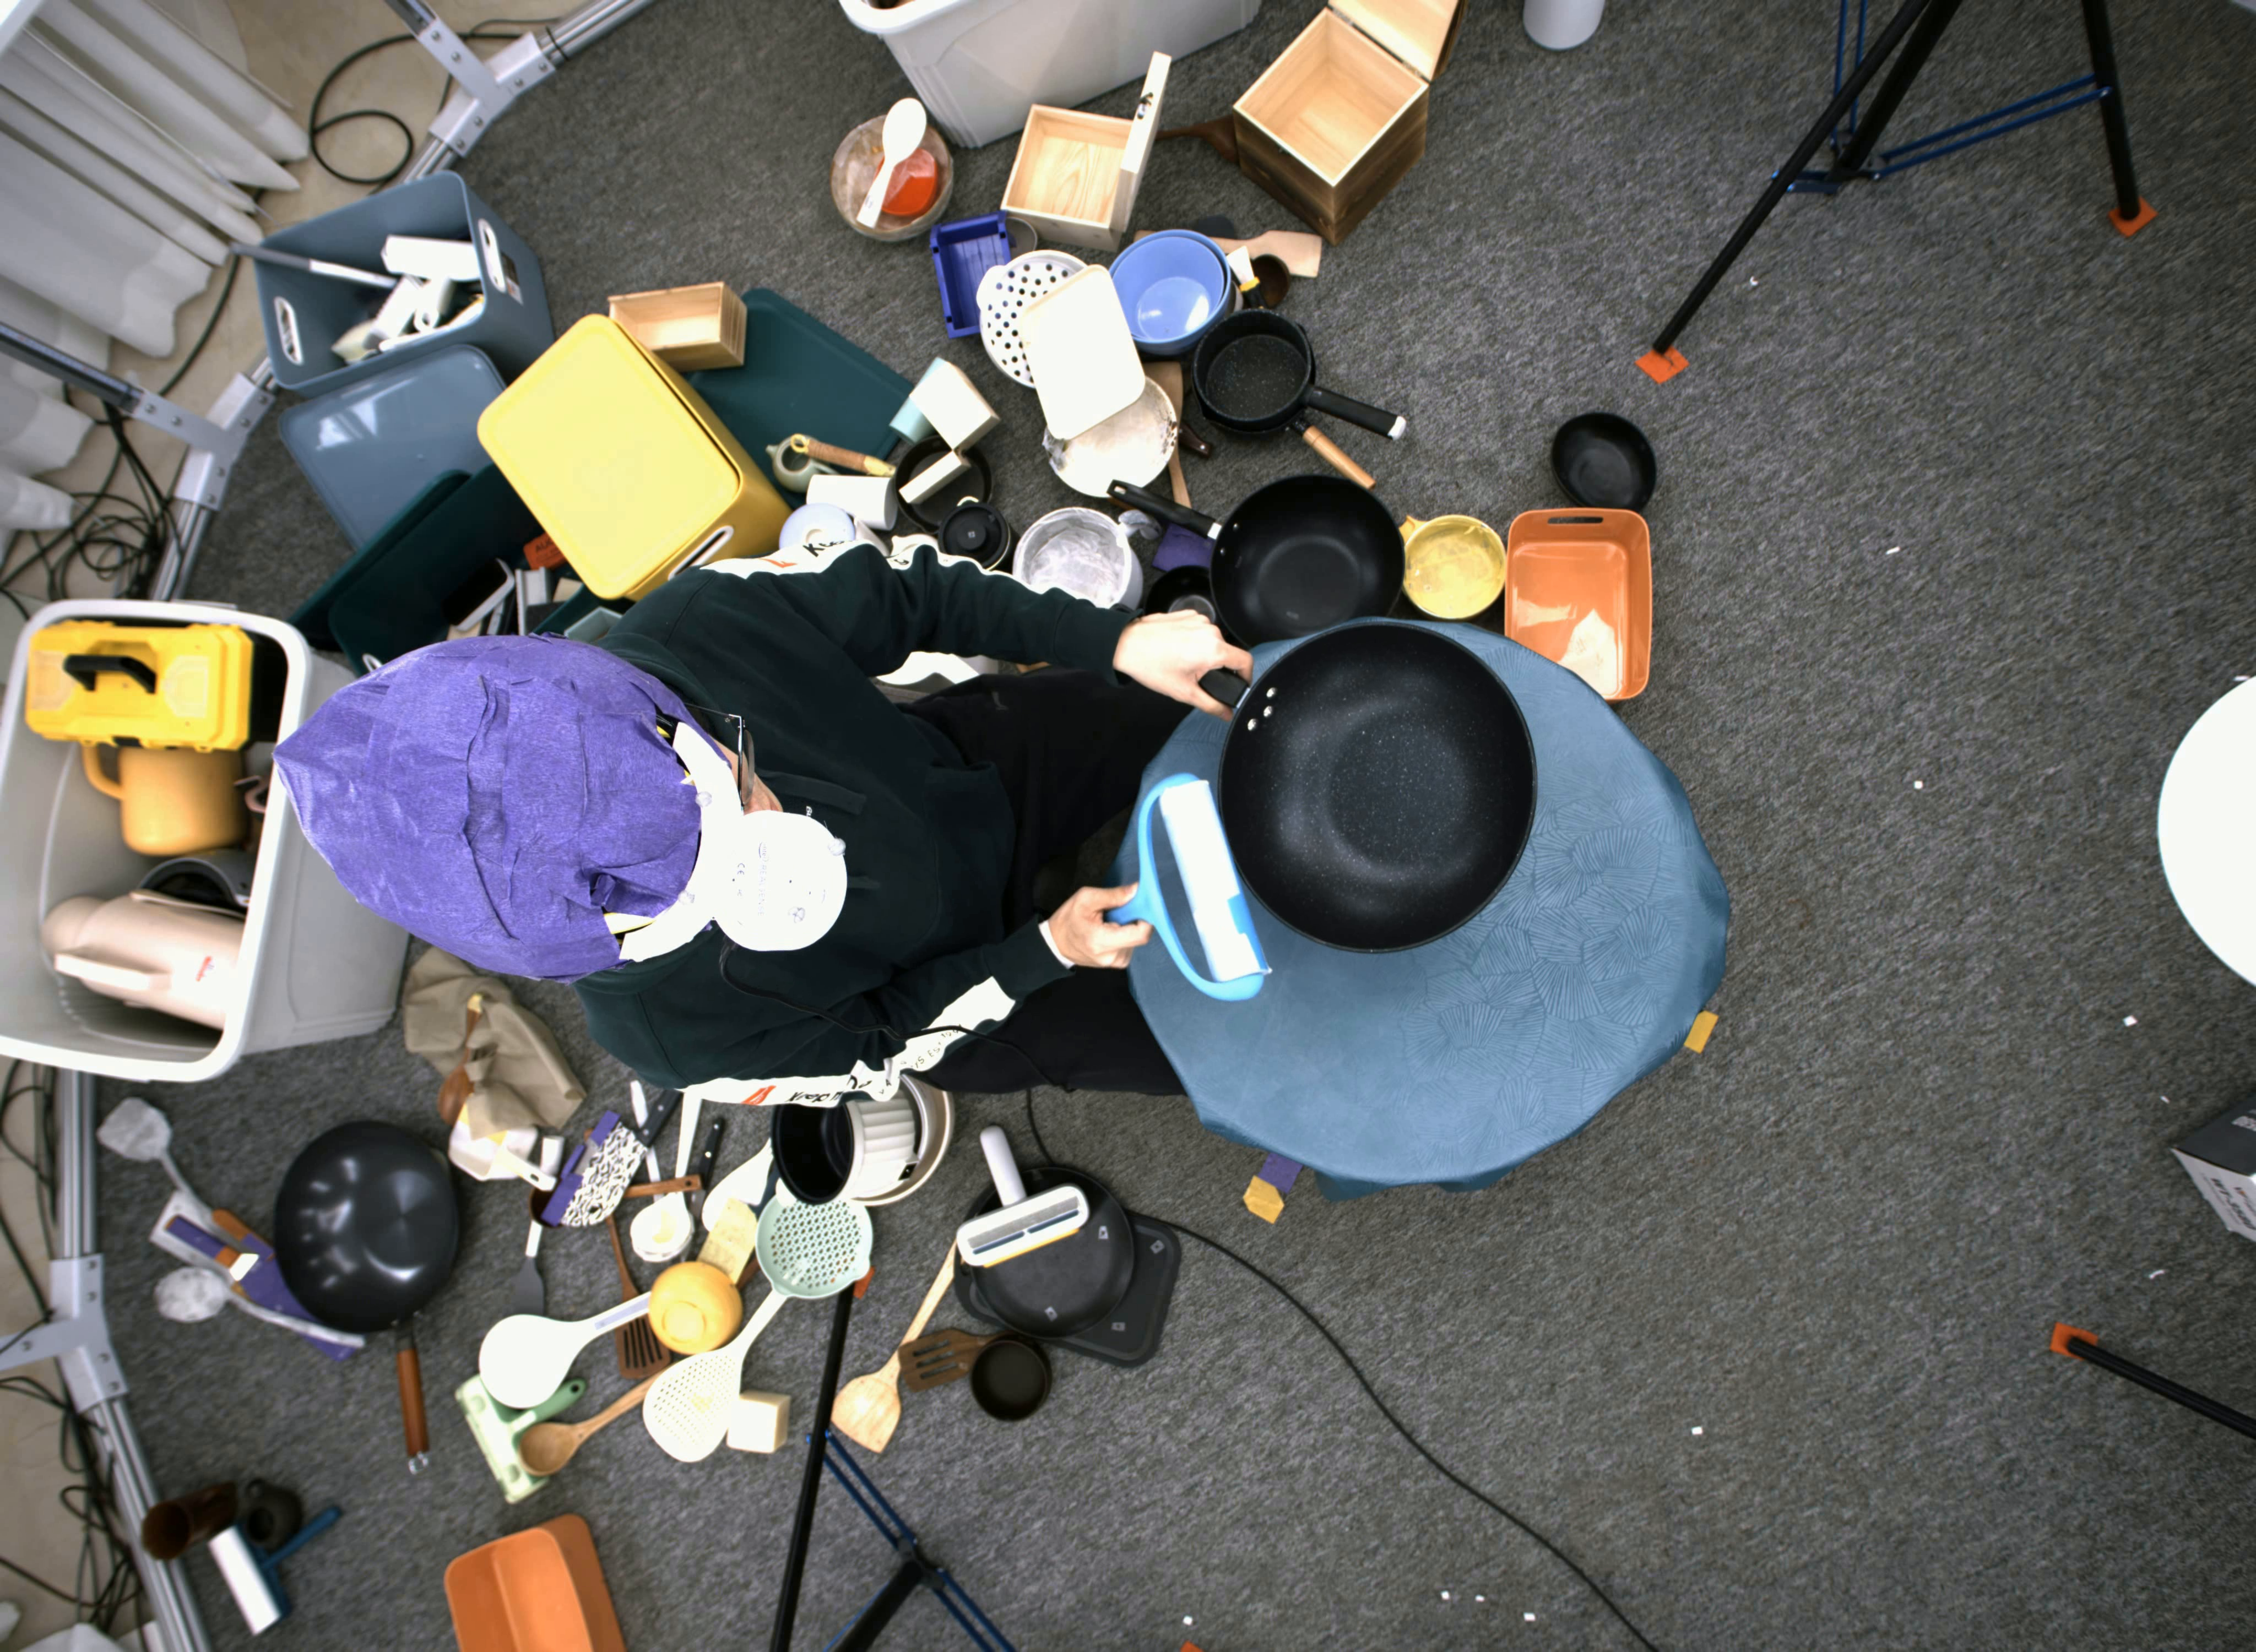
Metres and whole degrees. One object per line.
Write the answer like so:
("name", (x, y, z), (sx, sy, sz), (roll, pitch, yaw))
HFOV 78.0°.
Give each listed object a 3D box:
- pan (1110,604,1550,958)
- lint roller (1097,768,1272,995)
("pan", (0.182, -0.079, 1.325), (0.473, 0.111, 0.314), (37, 106, 23))
("lint roller", (0.033, 0.075, 1.351), (0.183, 0.067, 0.227), (-27, 77, 26))
